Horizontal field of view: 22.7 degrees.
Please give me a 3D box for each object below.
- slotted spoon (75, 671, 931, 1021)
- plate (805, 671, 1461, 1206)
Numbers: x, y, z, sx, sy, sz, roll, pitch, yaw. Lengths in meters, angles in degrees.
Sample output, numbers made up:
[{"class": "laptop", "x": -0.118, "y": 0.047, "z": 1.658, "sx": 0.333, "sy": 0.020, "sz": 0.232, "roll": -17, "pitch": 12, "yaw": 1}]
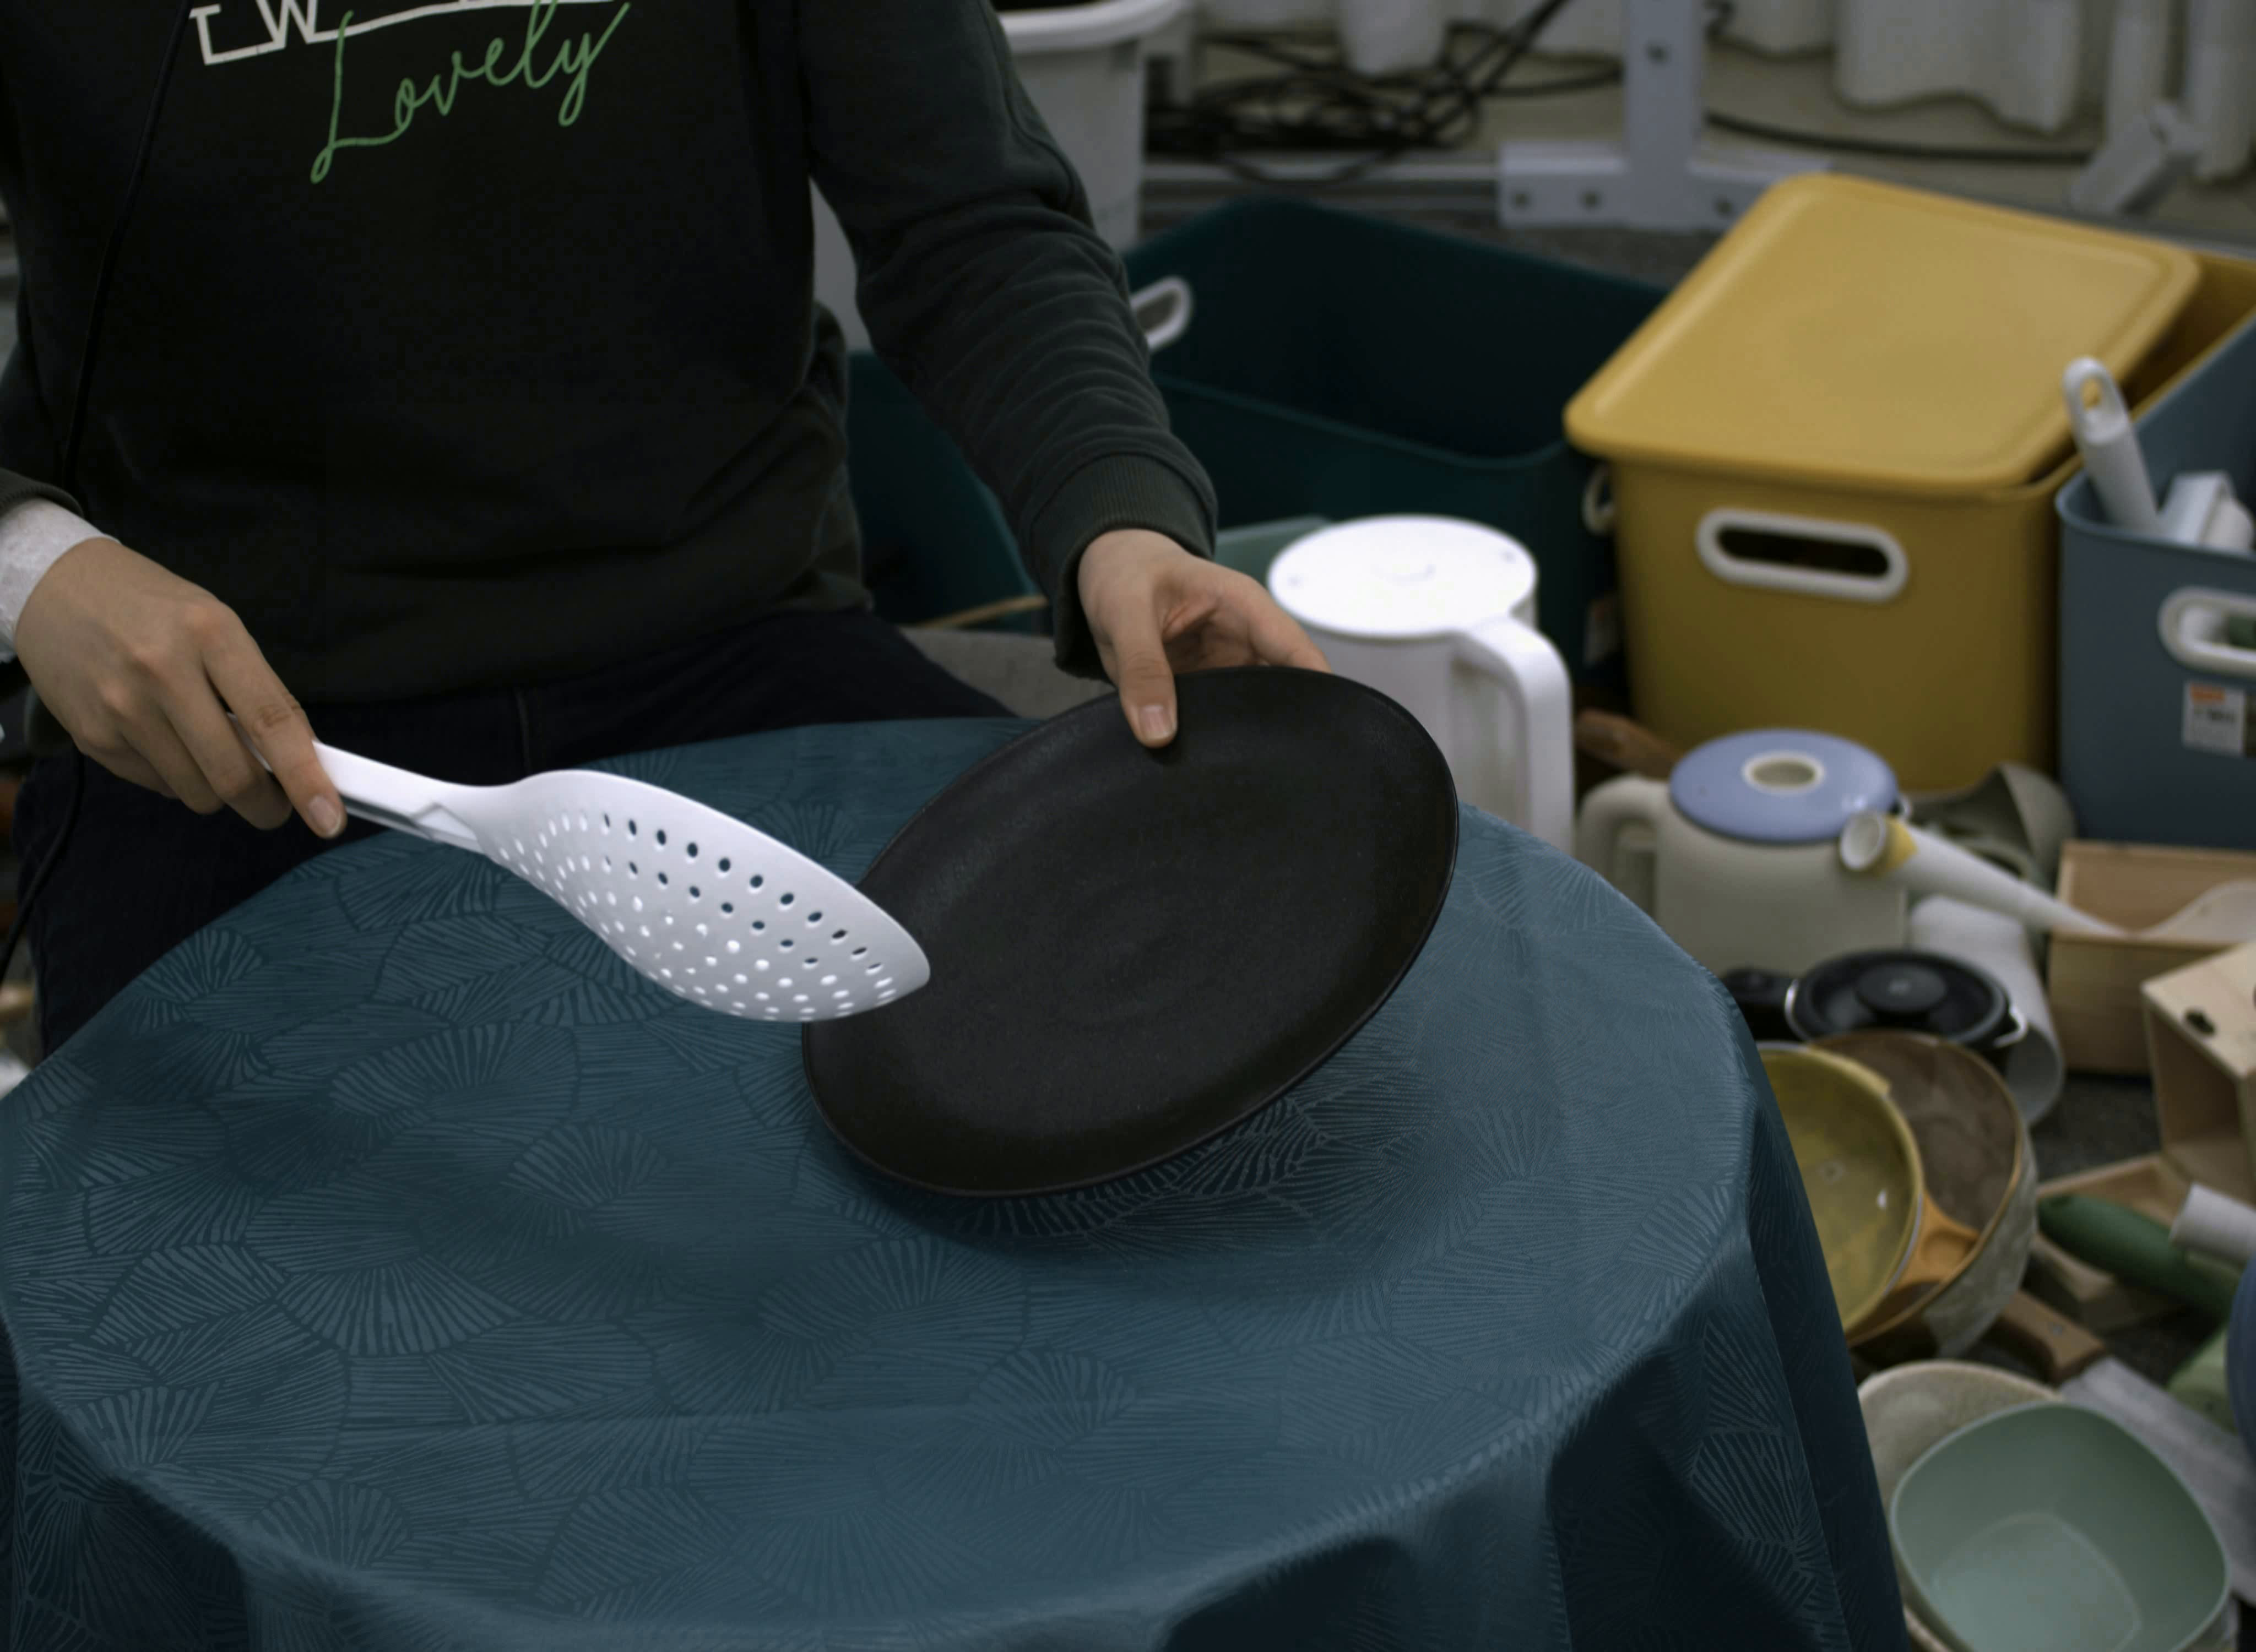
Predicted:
[{"class": "slotted spoon", "x": -0.213, "y": -0.002, "z": 1.826, "sx": 0.349, "sy": 0.135, "sz": 0.046, "roll": 21, "pitch": 71, "yaw": 34}, {"class": "plate", "x": 0.004, "y": 0.040, "z": 1.901, "sx": 0.242, "sy": 0.023, "sz": 0.249, "roll": -18, "pitch": 38, "yaw": 15}]
